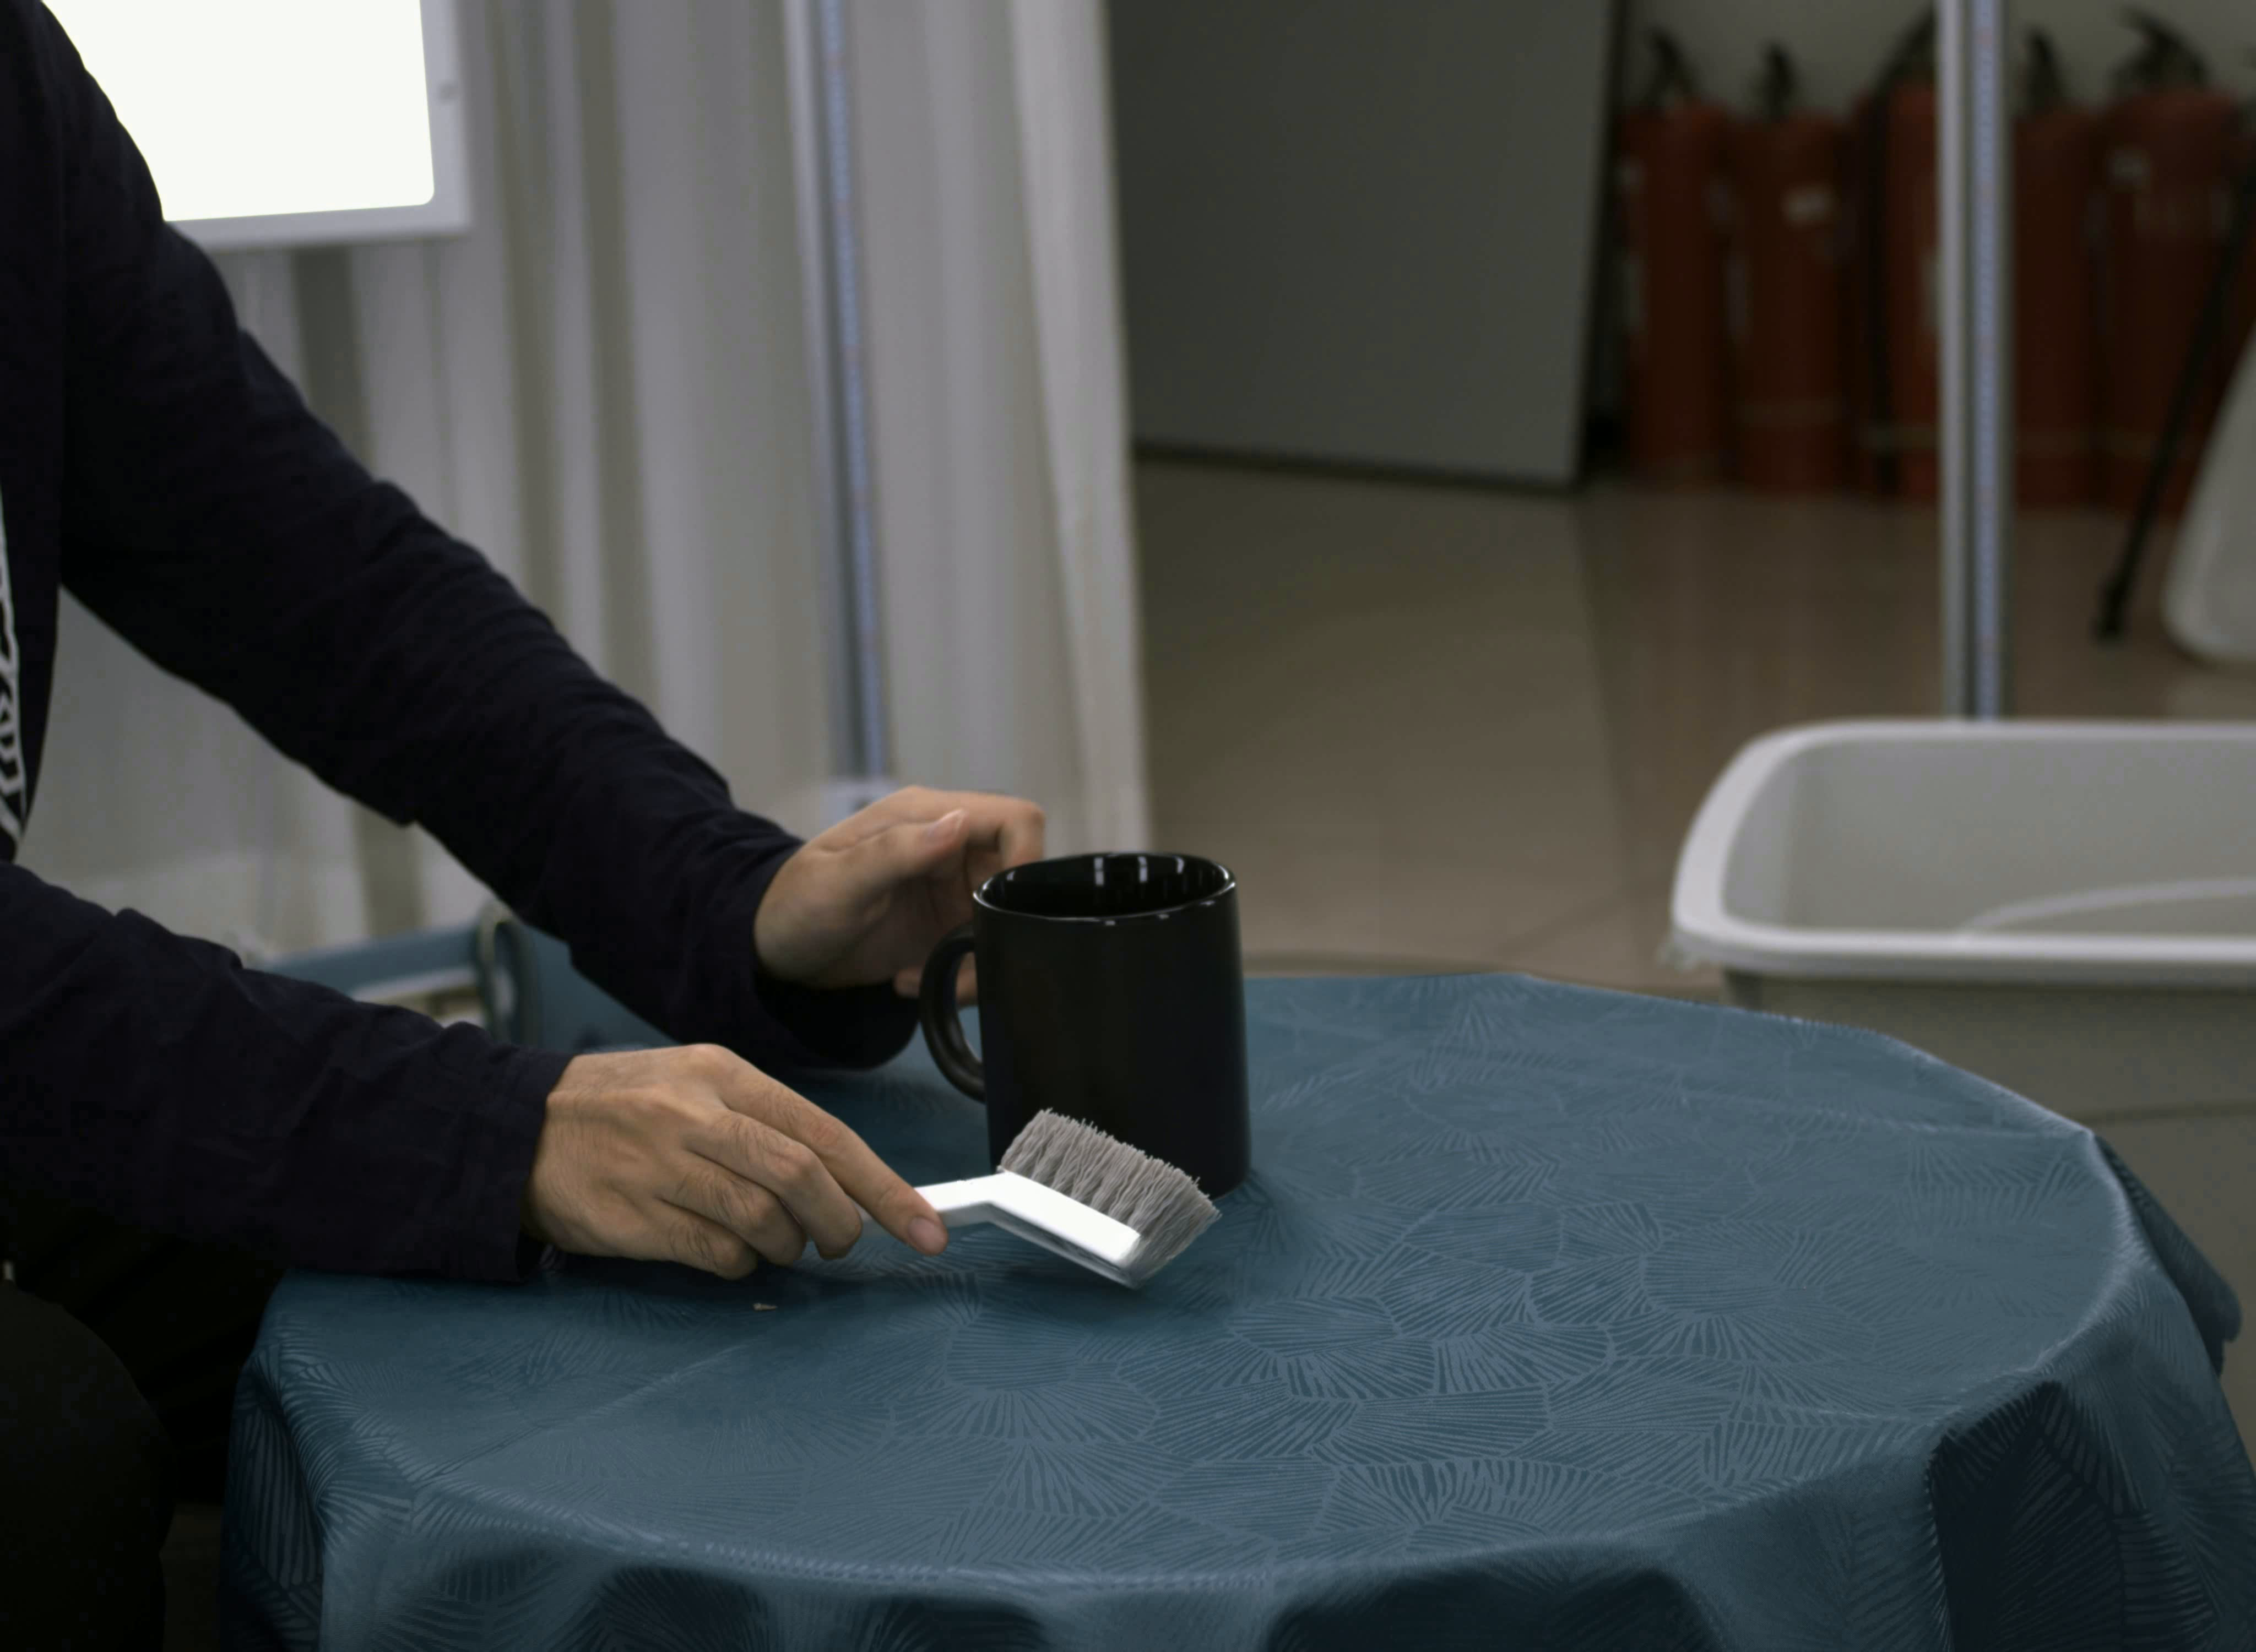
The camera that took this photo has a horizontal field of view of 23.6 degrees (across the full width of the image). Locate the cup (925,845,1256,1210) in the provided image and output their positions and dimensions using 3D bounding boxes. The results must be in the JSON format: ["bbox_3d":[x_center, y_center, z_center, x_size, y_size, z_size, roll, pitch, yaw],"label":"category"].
[{"bbox_3d":[-0.018,0.067,1.785,0.124,0.106,0.087,5,18,40],"label":"cup"}]

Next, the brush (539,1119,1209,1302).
[{"bbox_3d":[-0.084,0.115,1.719,0.245,0.050,0.034,2,-21,33],"label":"brush"}]
